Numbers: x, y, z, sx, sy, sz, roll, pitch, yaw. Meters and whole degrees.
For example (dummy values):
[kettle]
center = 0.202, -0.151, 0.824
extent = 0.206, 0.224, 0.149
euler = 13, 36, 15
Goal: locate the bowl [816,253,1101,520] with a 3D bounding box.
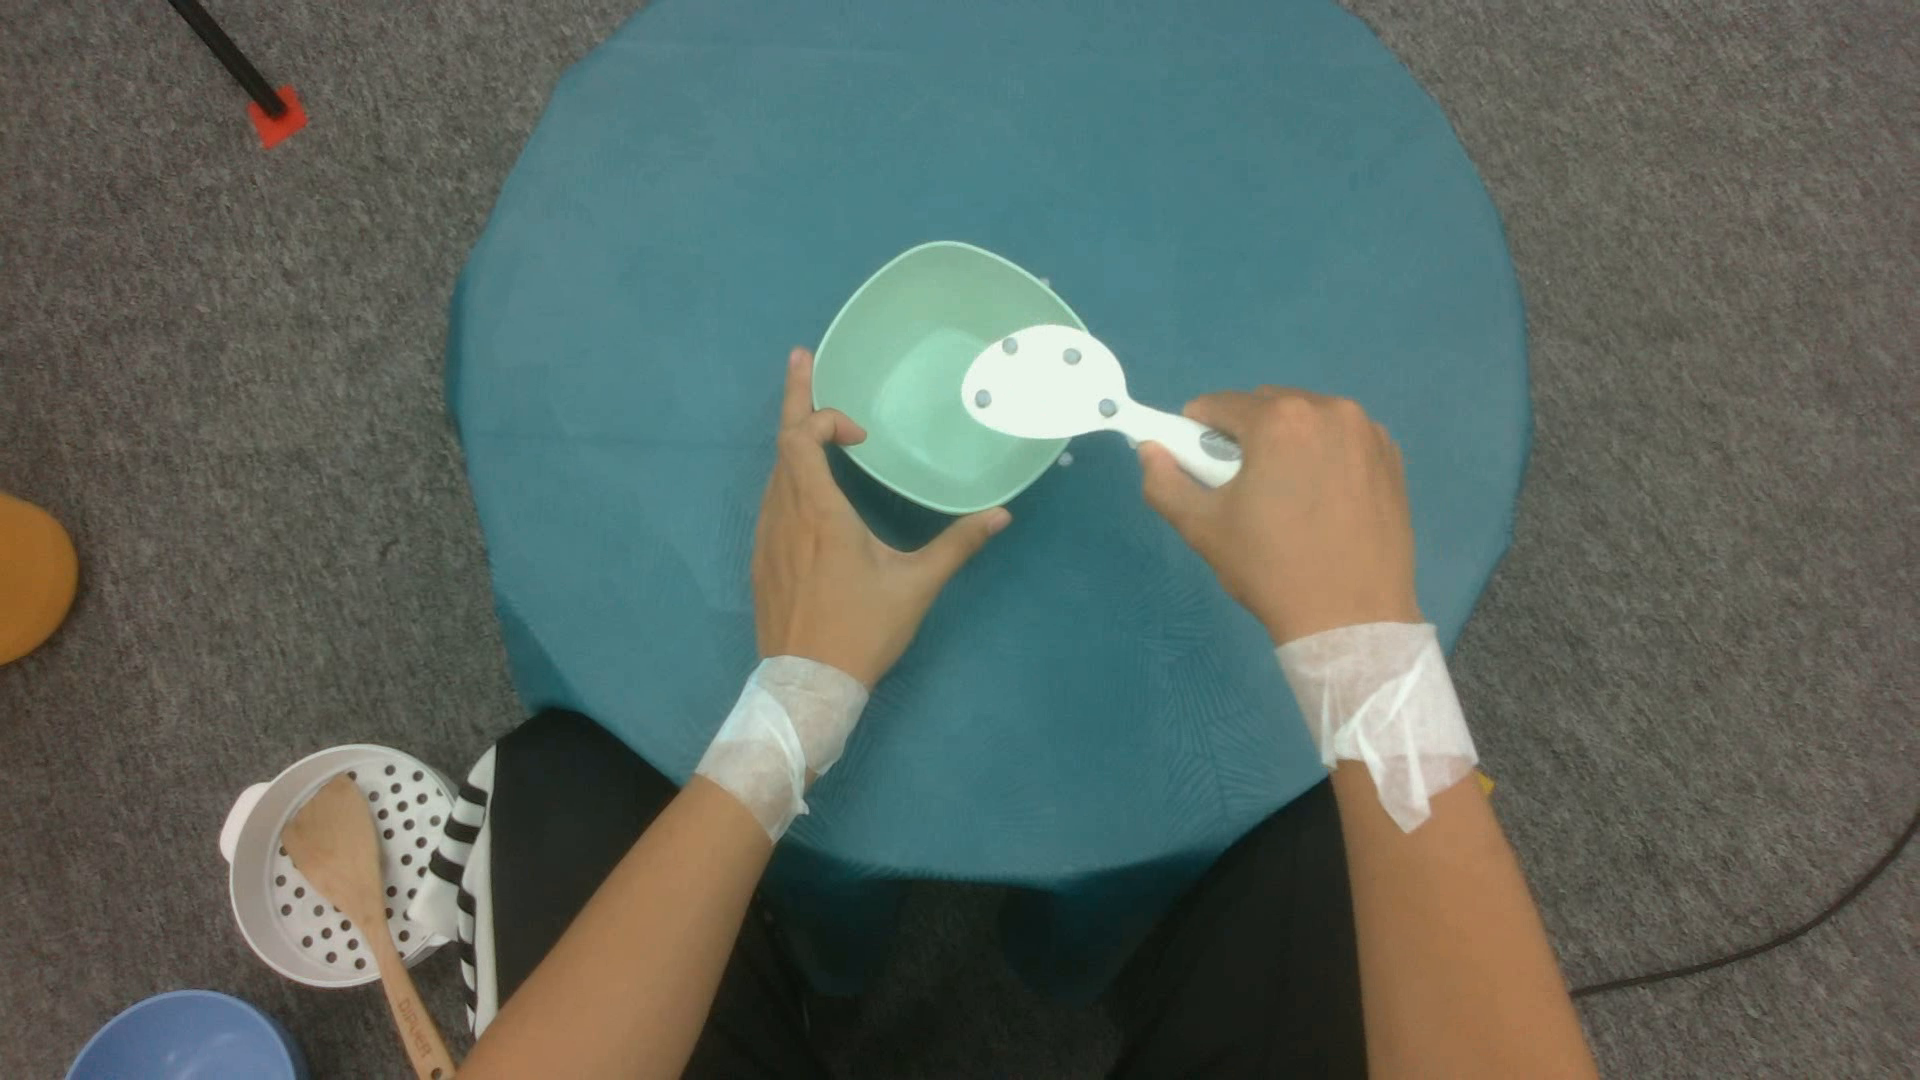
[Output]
[bowl]
center = -0.001, -0.076, 0.752
extent = 0.151, 0.058, 0.152
euler = 0, 74, -1

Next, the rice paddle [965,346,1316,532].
[rice paddle]
center = 0.075, -0.052, 0.649
extent = 0.069, 0.029, 0.205
euler = -48, 44, -15
